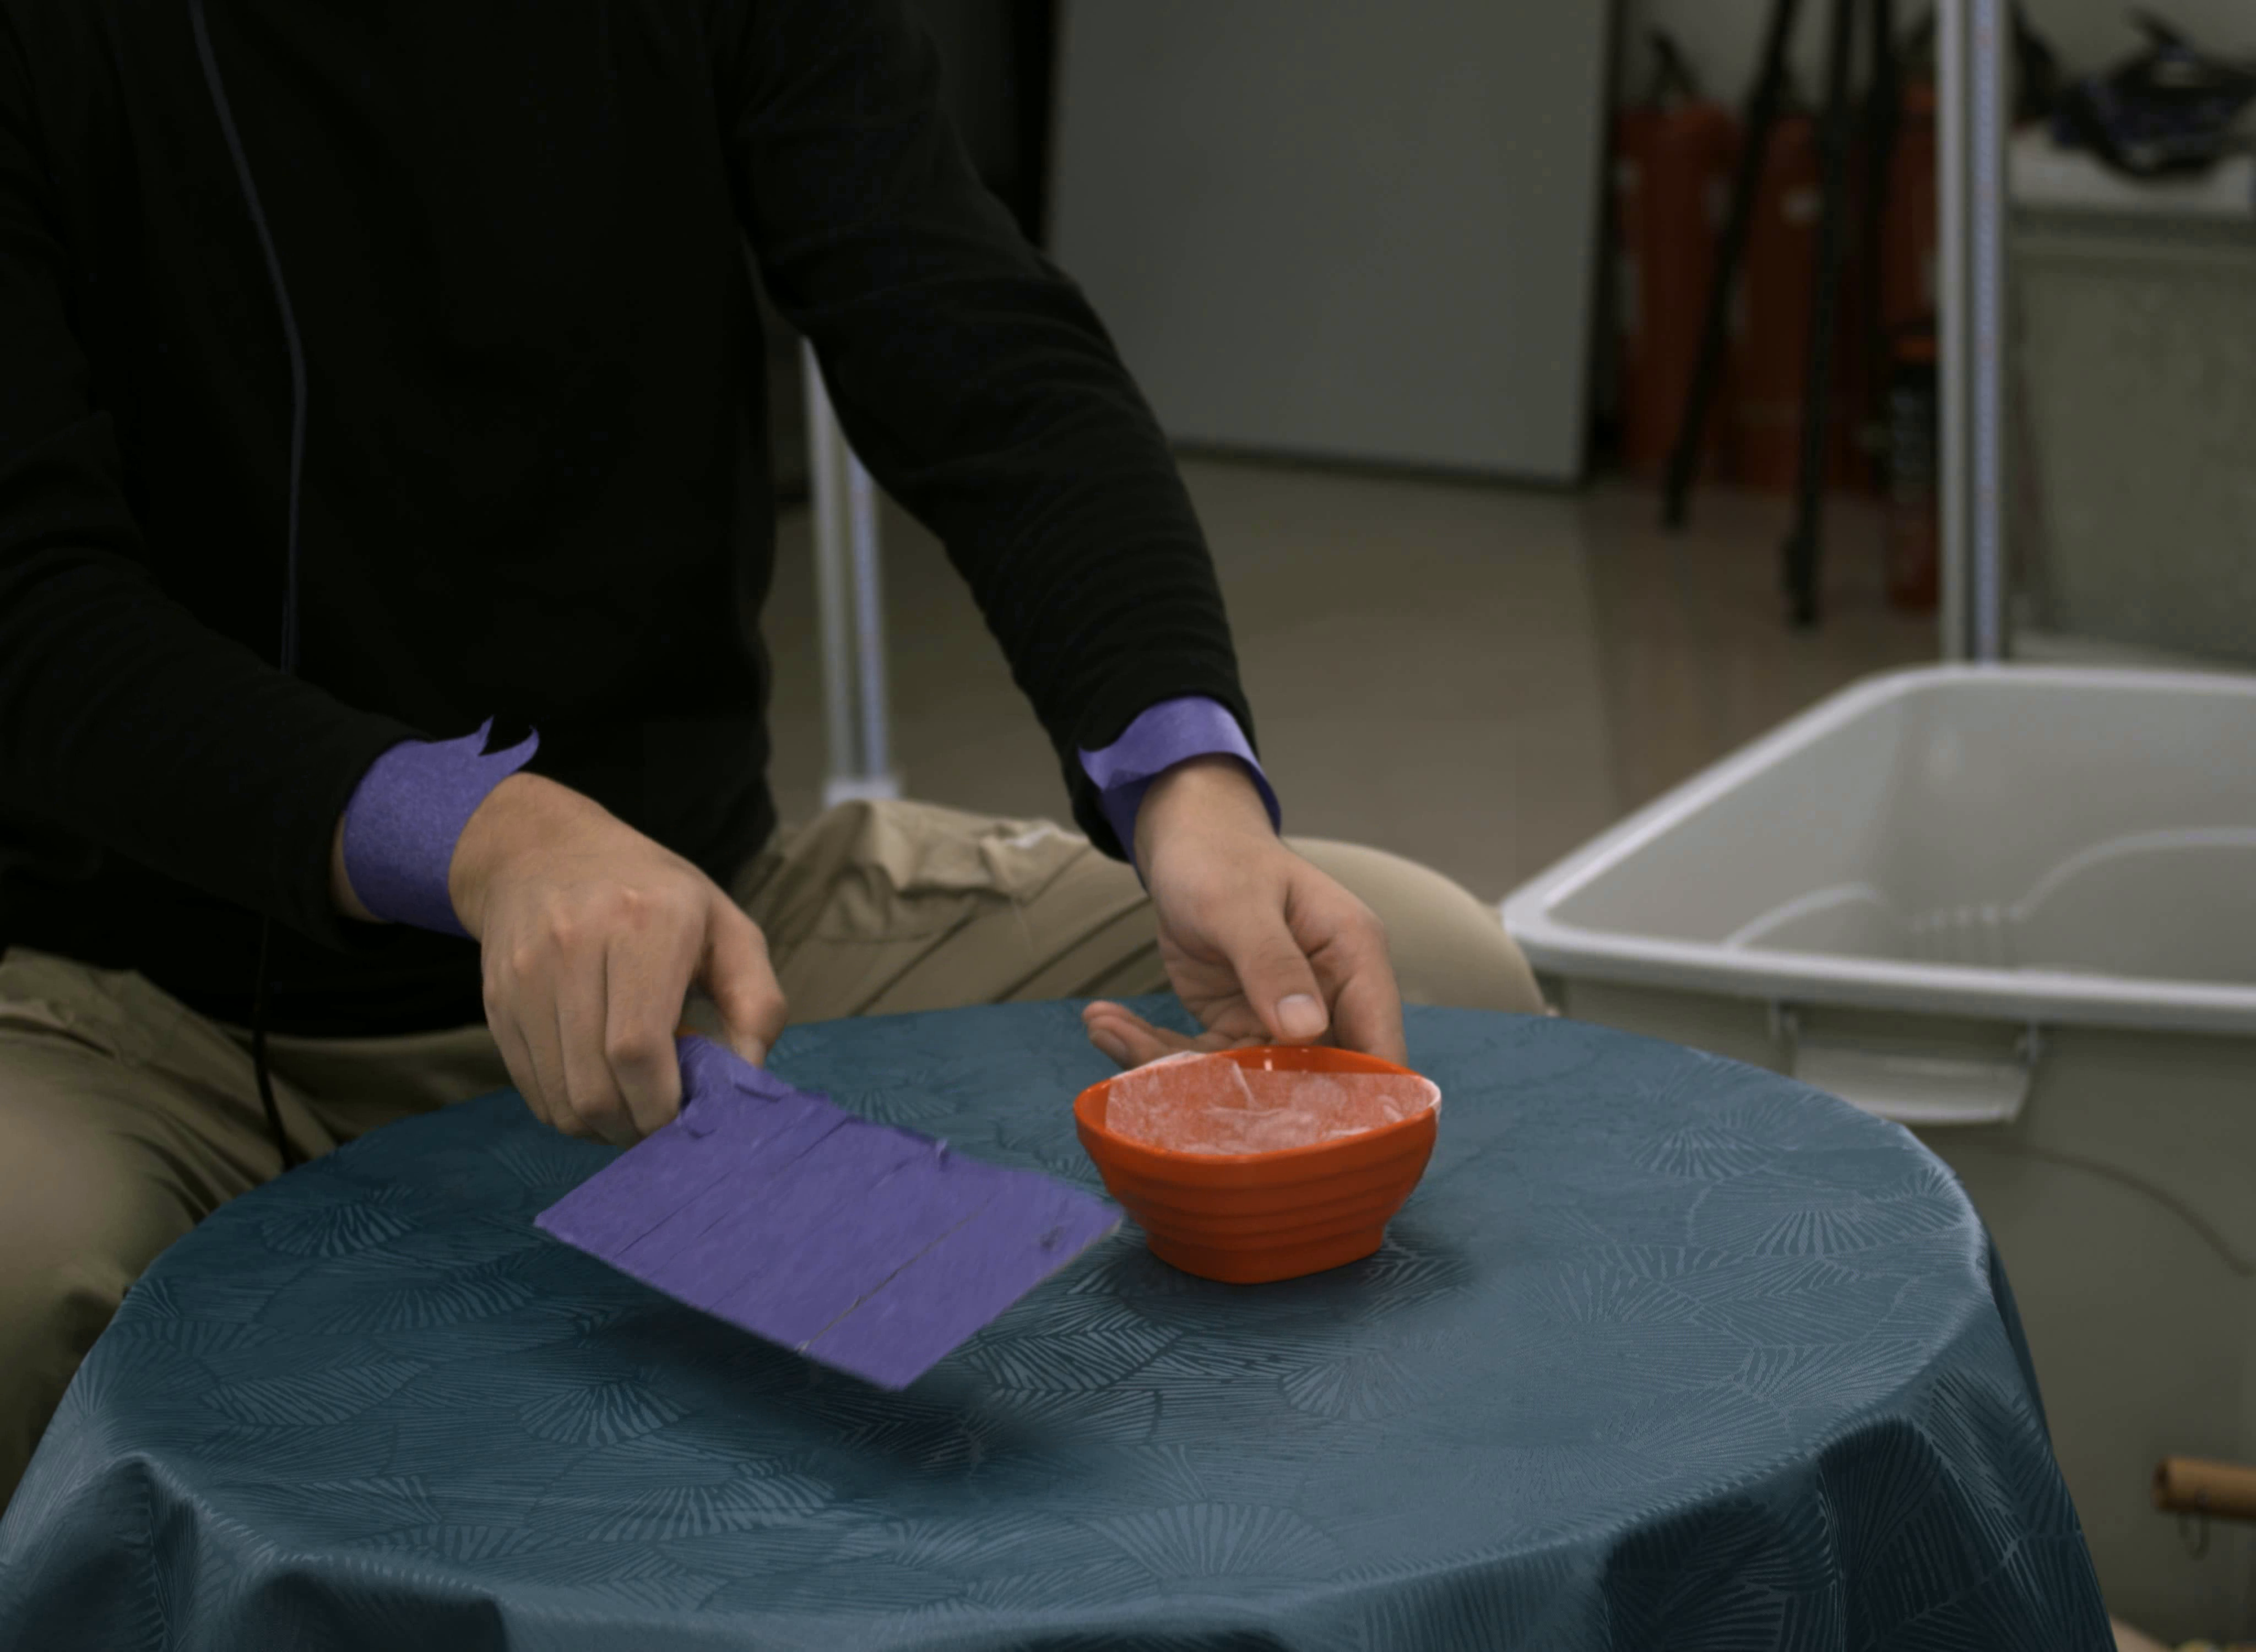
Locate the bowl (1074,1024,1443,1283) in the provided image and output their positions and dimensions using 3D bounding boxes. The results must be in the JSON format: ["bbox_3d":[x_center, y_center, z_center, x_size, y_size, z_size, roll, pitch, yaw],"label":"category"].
[{"bbox_3d":[0.042,0.106,1.703,0.117,0.052,0.119,-4,18,0],"label":"bowl"}]

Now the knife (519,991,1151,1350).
[{"bbox_3d":[-0.120,0.102,1.650,0.102,0.032,0.318,-36,25,-26],"label":"knife"}]
